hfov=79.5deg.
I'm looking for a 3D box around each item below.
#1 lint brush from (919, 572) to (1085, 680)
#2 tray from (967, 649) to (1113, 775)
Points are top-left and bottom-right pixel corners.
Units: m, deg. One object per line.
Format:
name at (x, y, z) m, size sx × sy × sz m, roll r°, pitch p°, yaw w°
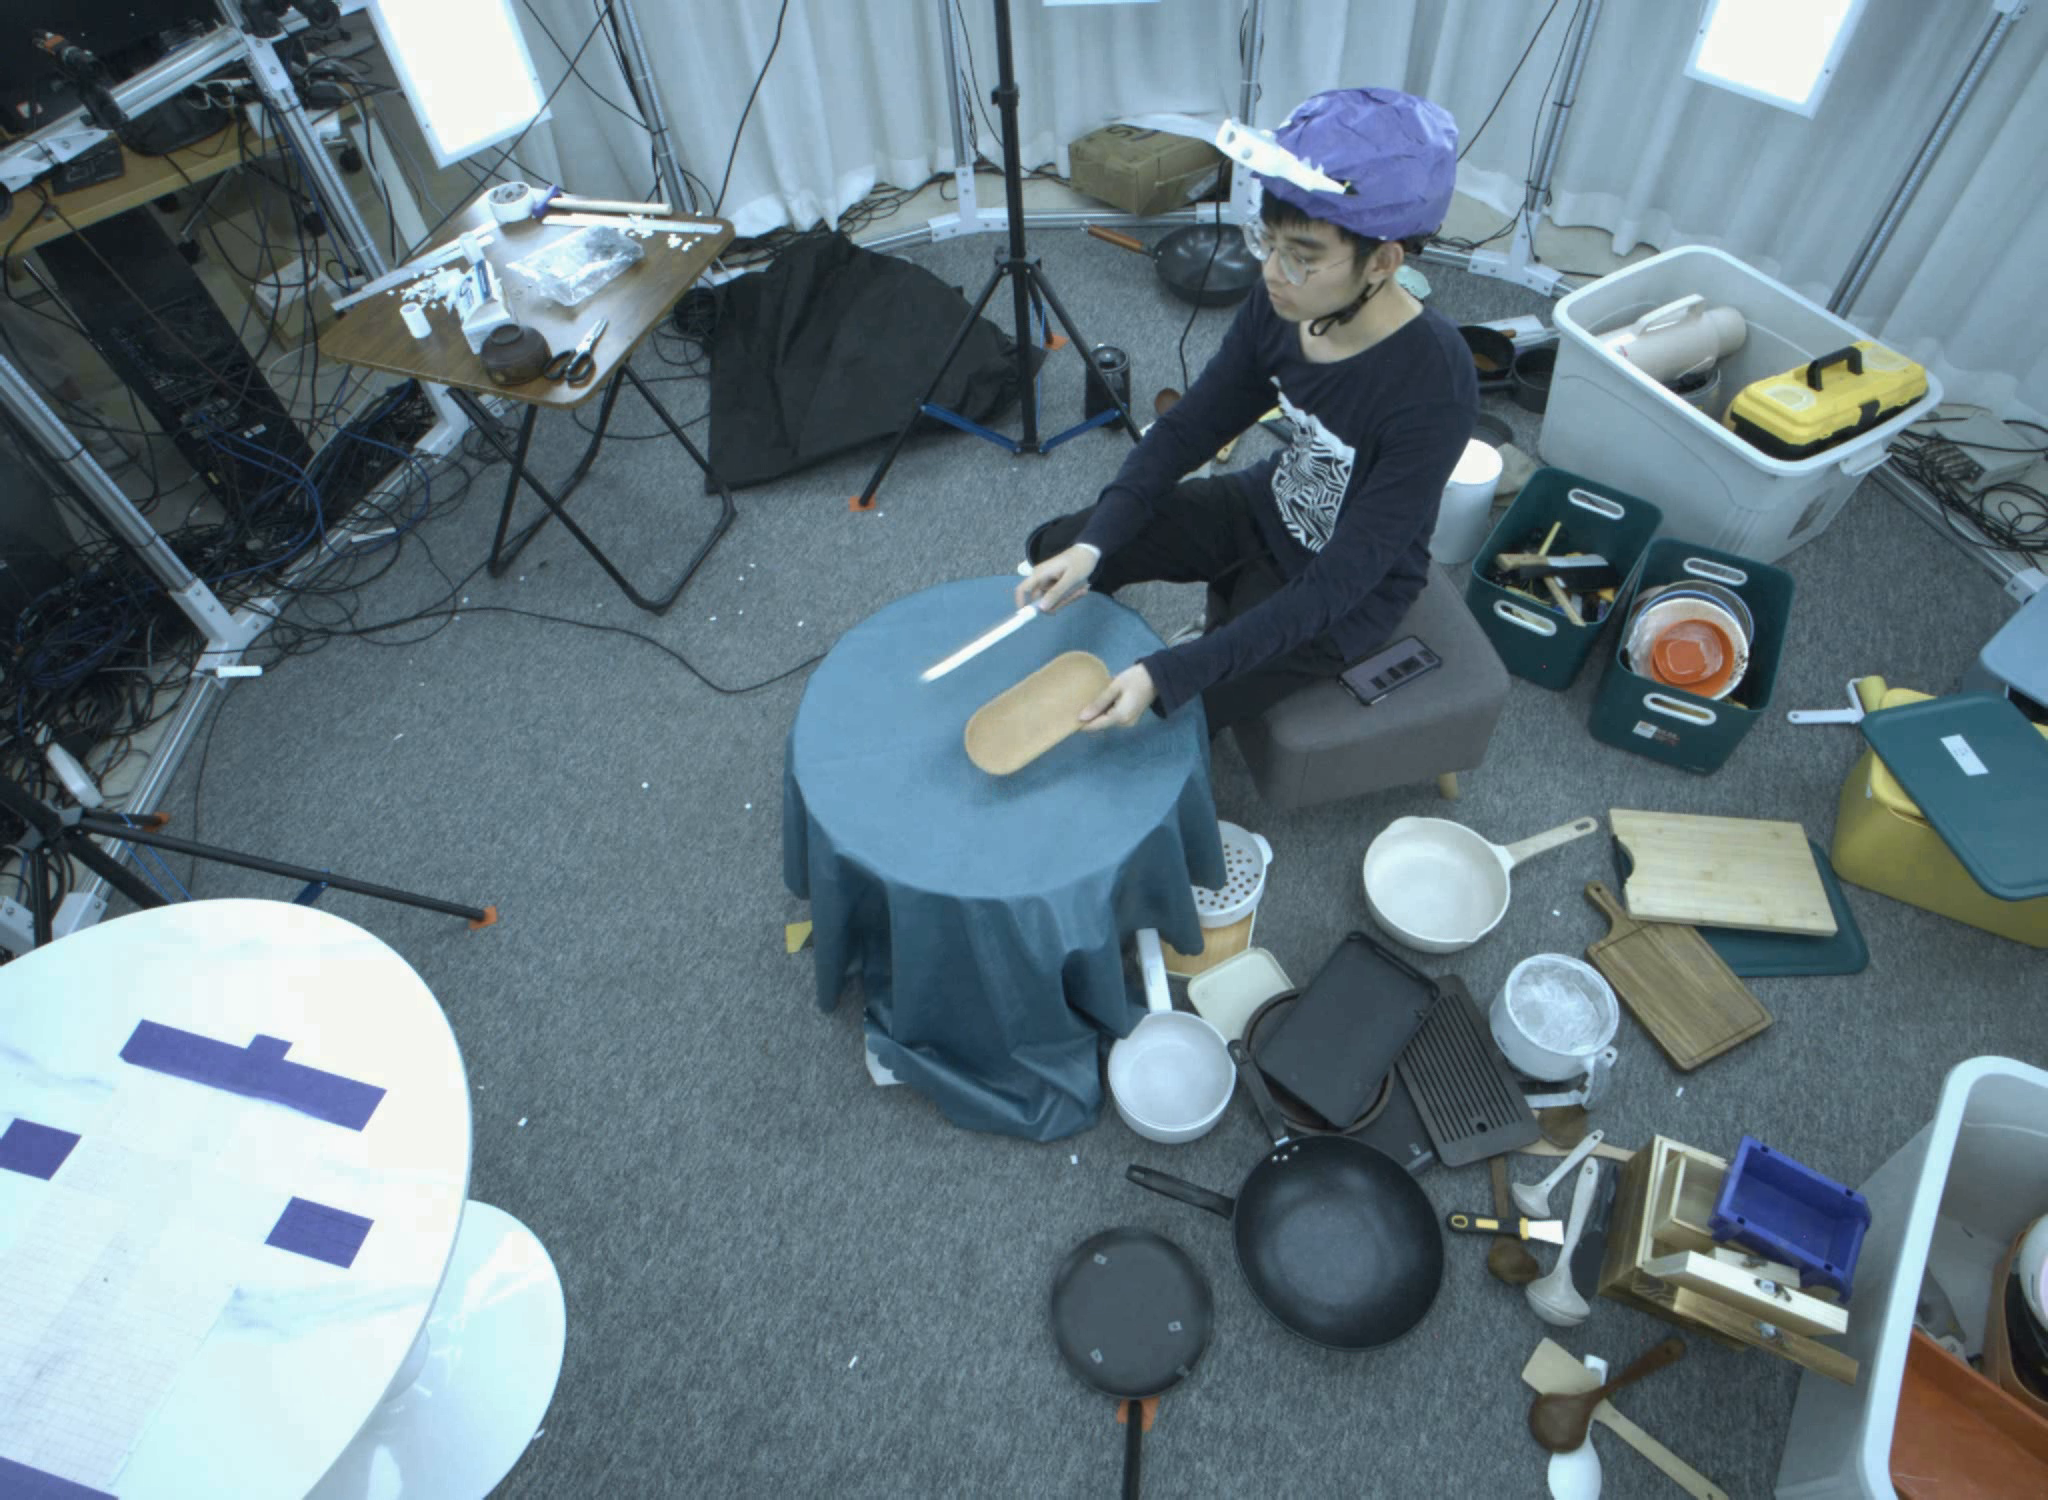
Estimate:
lint brush at (-0.027, -0.183, 1.785) m, size 0.312 × 0.059 × 0.021 m, roll -35°, pitch 99°, yaw -26°
tray at (0.023, -0.054, 1.735) m, size 0.232 × 0.020 × 0.103 m, roll -36°, pitch 105°, yaw -8°
